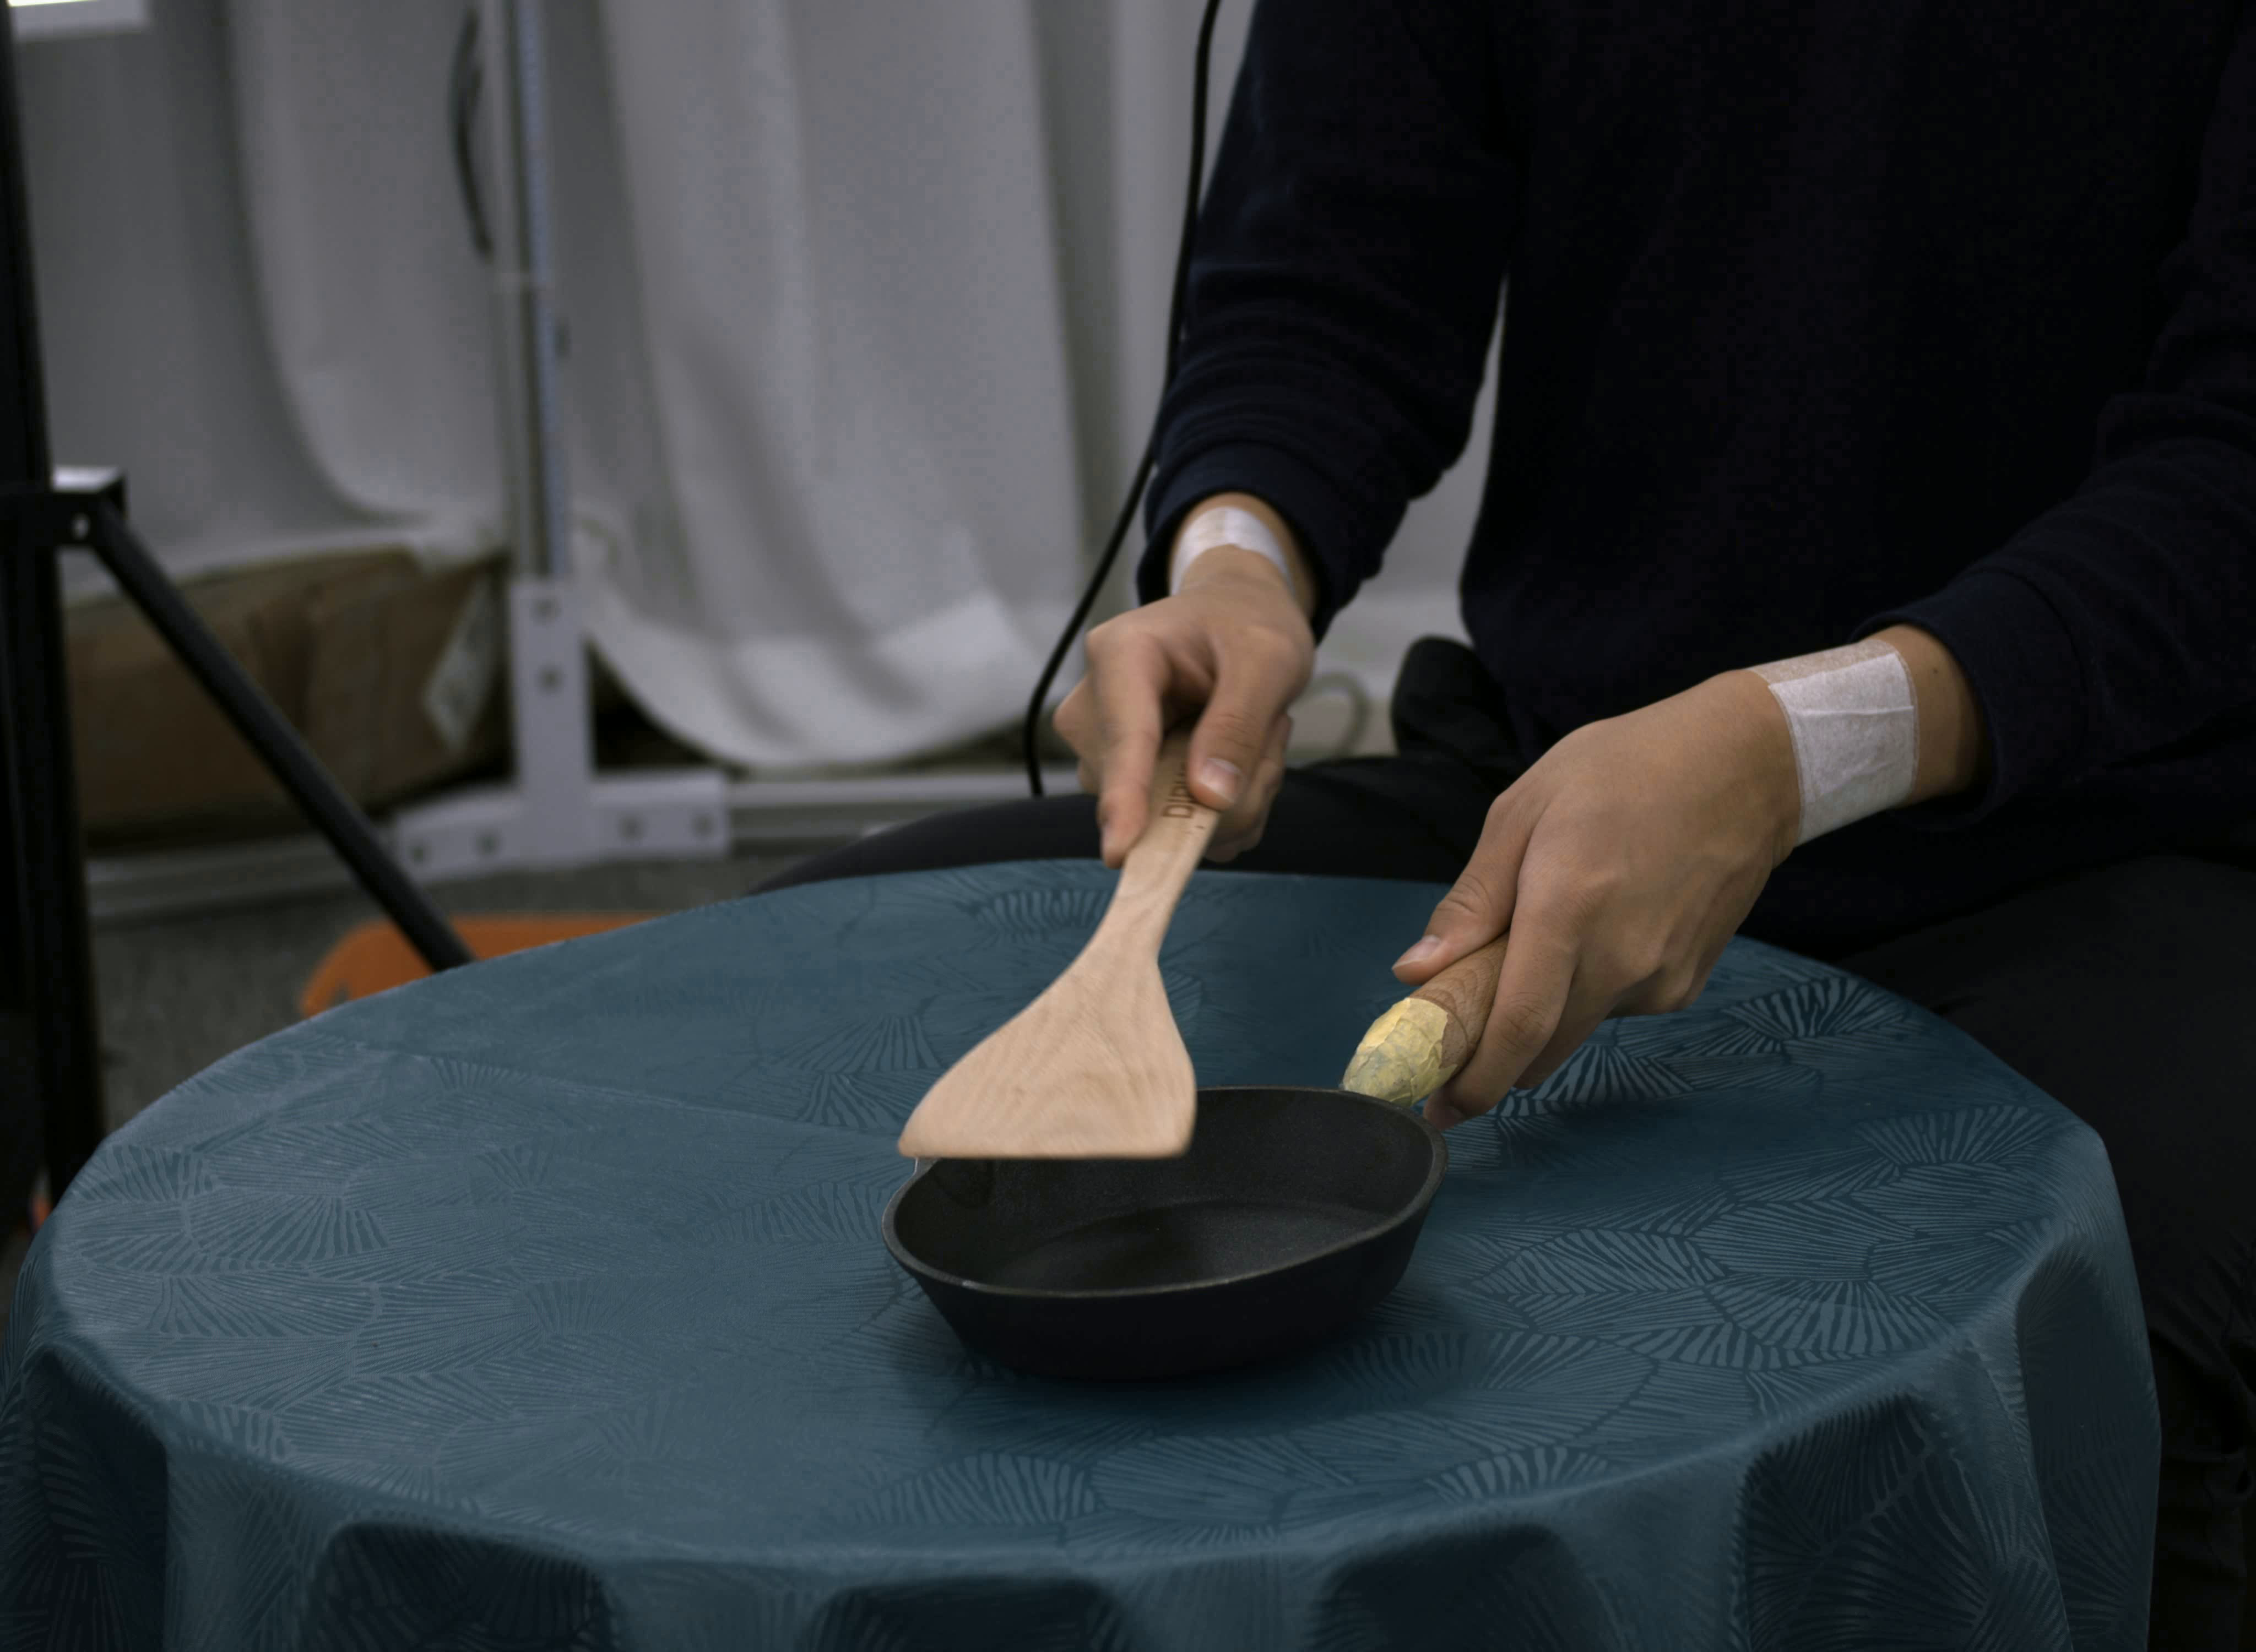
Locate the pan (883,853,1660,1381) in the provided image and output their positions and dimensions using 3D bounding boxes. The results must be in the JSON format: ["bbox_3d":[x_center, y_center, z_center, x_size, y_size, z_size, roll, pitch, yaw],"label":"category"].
[{"bbox_3d":[0.064,0.080,1.514,0.172,0.049,0.318,6,23,41],"label":"pan"}]

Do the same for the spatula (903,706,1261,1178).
[{"bbox_3d":[0.004,0.029,1.544,0.080,0.016,0.327,5,26,9],"label":"spatula"}]
